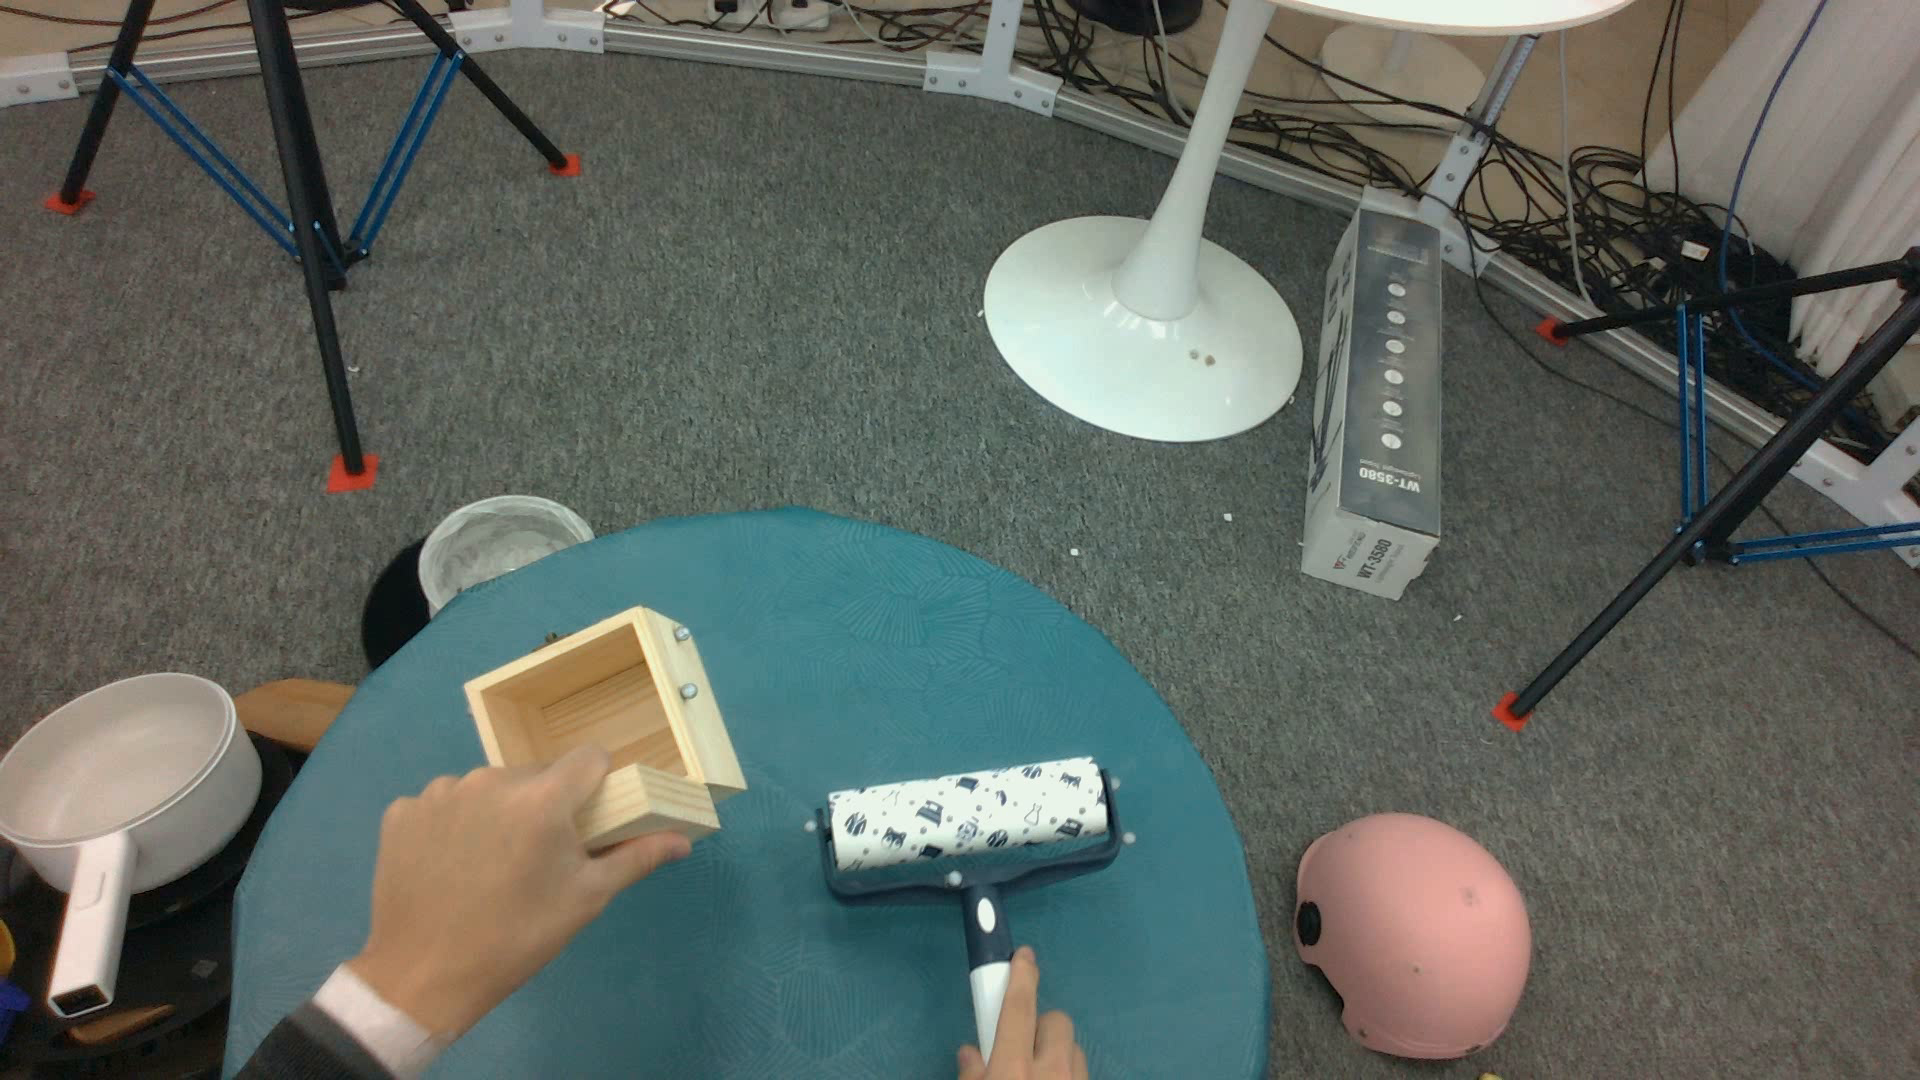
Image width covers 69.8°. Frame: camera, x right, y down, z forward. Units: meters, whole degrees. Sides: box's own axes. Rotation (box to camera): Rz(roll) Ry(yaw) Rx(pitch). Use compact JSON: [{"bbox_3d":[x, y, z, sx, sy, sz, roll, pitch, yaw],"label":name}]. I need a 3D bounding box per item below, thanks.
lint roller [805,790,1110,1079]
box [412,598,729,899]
[{"bbox_3d":[0.002,0.234,0.725,0.176,0.050,0.248,-5,35,1],"label":"lint roller"},{"bbox_3d":[-0.200,0.099,0.694,0.102,0.184,0.134,-25,75,-1],"label":"box"}]
